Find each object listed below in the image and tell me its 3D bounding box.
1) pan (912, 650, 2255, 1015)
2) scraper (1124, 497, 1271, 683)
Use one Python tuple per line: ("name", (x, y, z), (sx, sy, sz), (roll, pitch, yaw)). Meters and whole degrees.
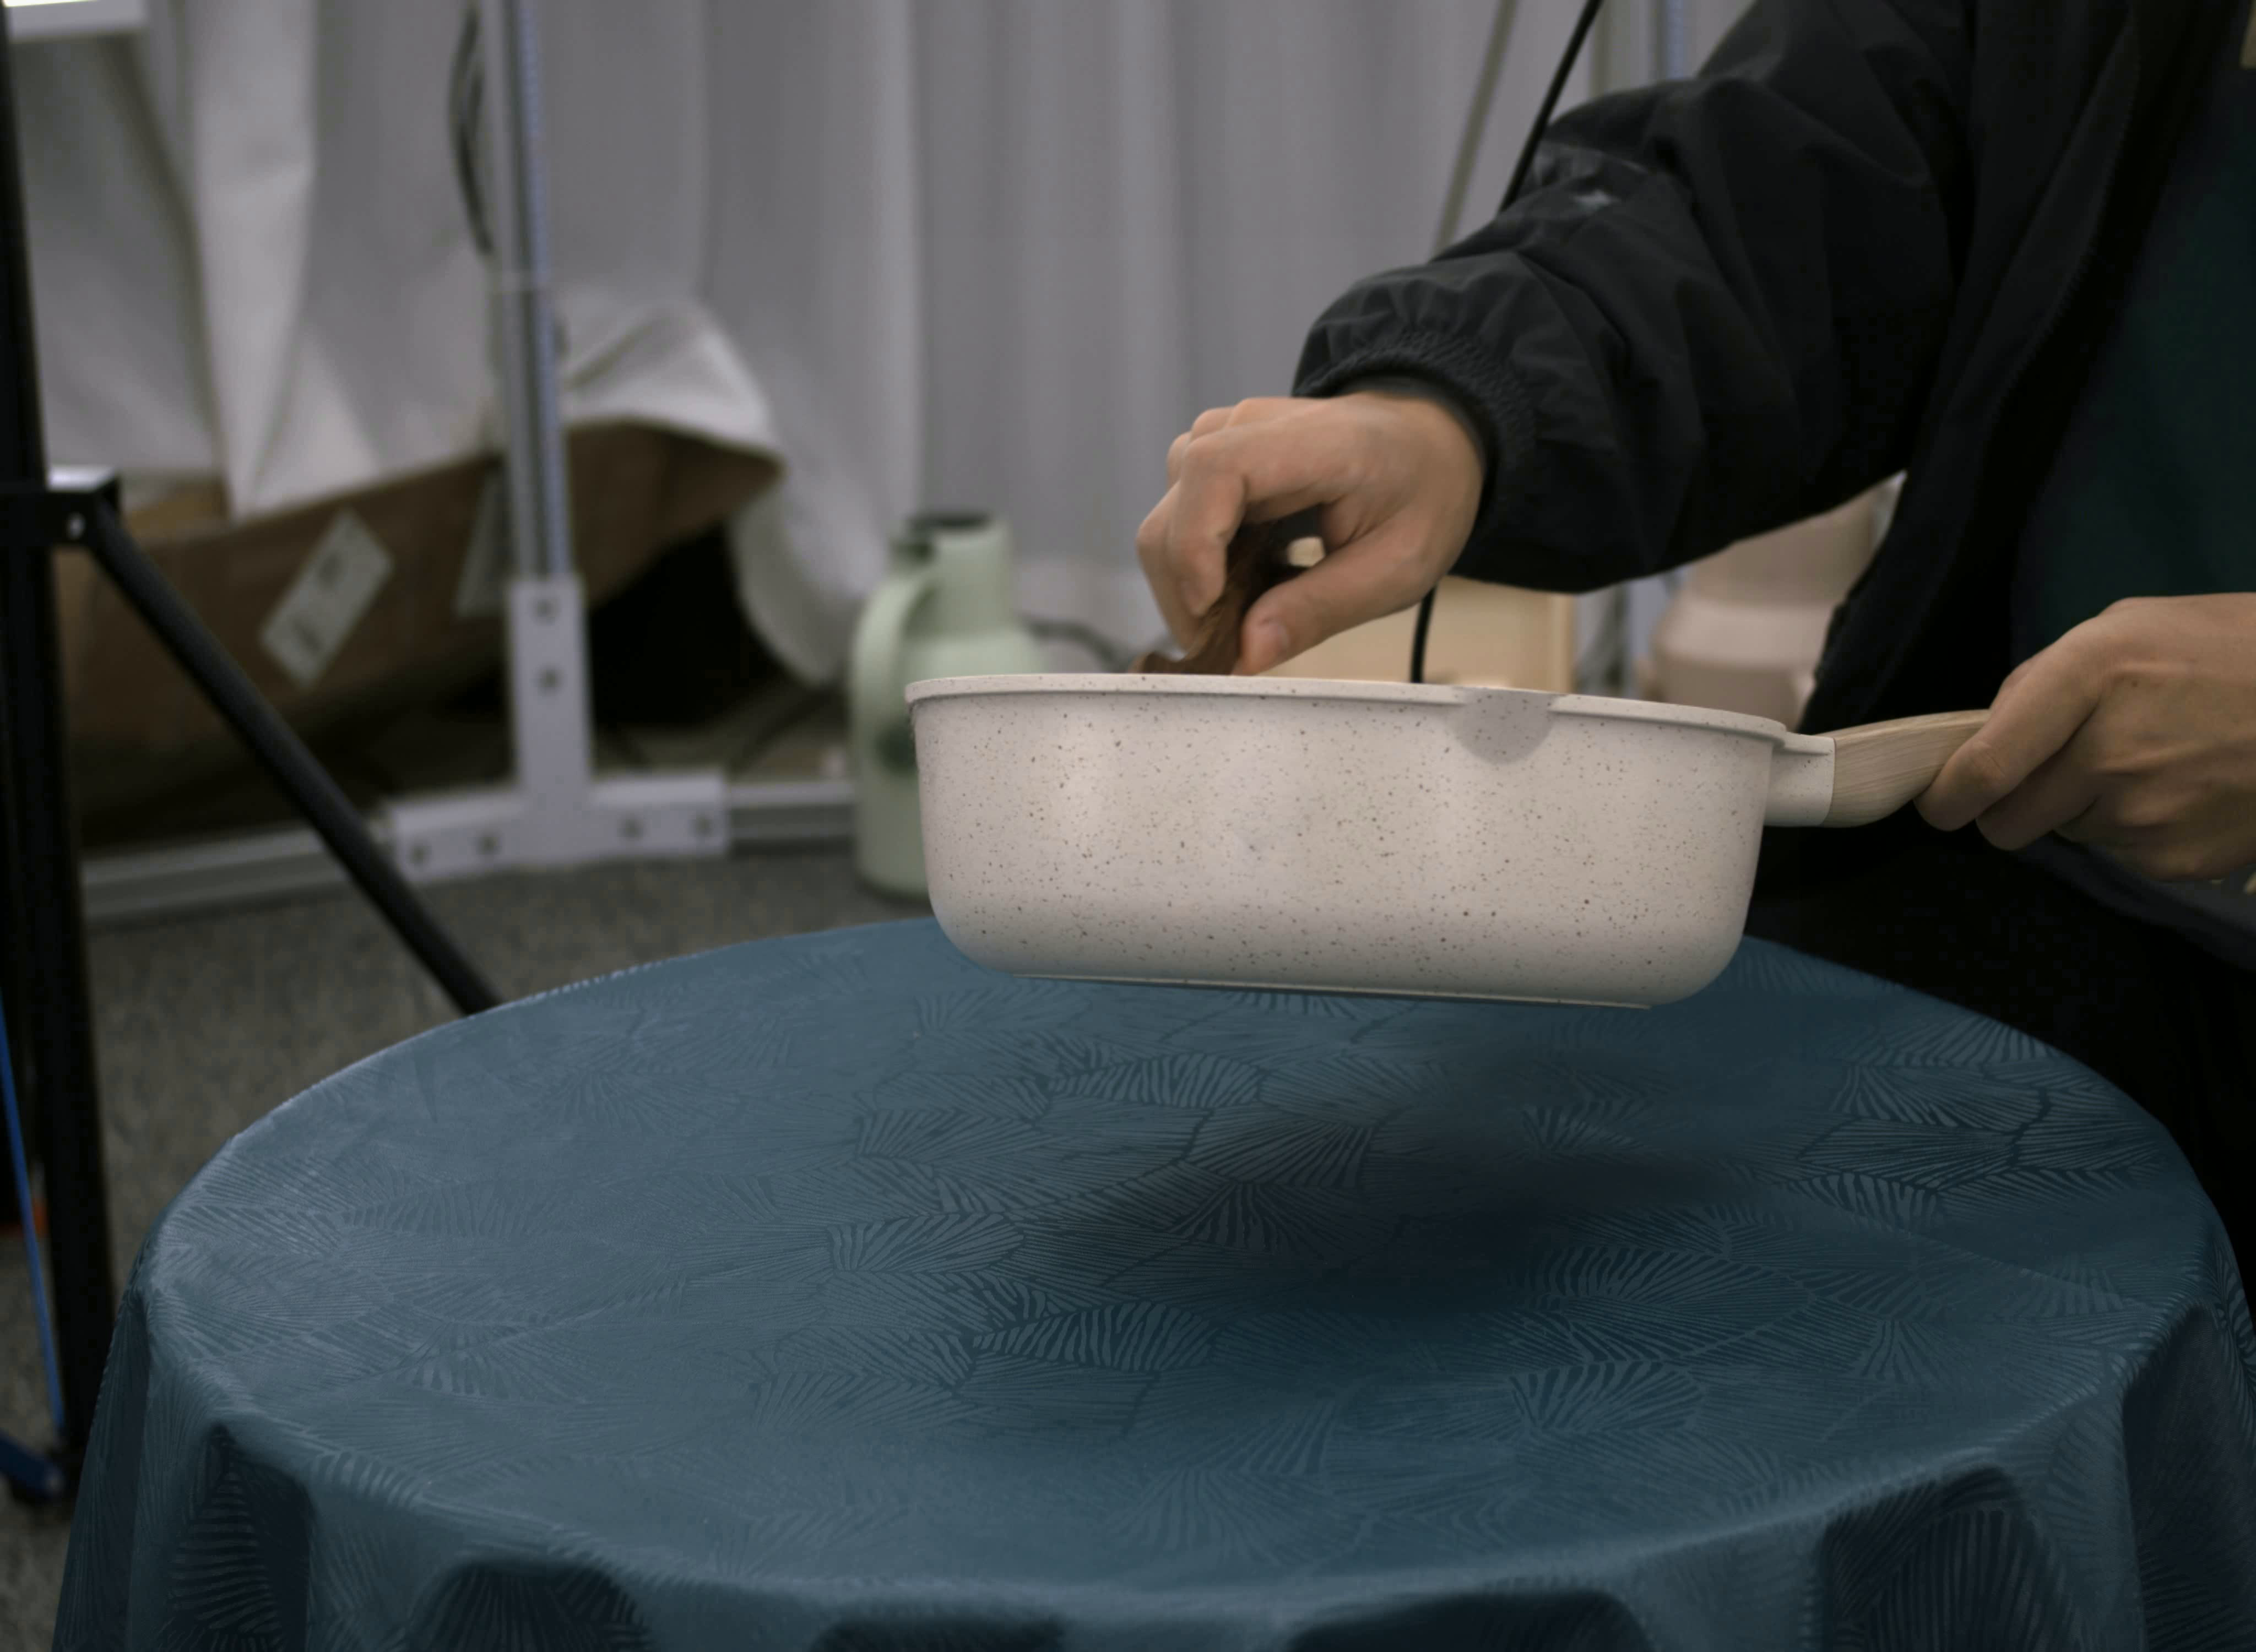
("pan", (0.148, 0.004, 1.528), (0.427, 0.102, 0.266), (4, -4, -17))
("scraper", (0.021, -0.044, 1.575), (0.011, 0.075, 0.211), (-3, 26, 15))
